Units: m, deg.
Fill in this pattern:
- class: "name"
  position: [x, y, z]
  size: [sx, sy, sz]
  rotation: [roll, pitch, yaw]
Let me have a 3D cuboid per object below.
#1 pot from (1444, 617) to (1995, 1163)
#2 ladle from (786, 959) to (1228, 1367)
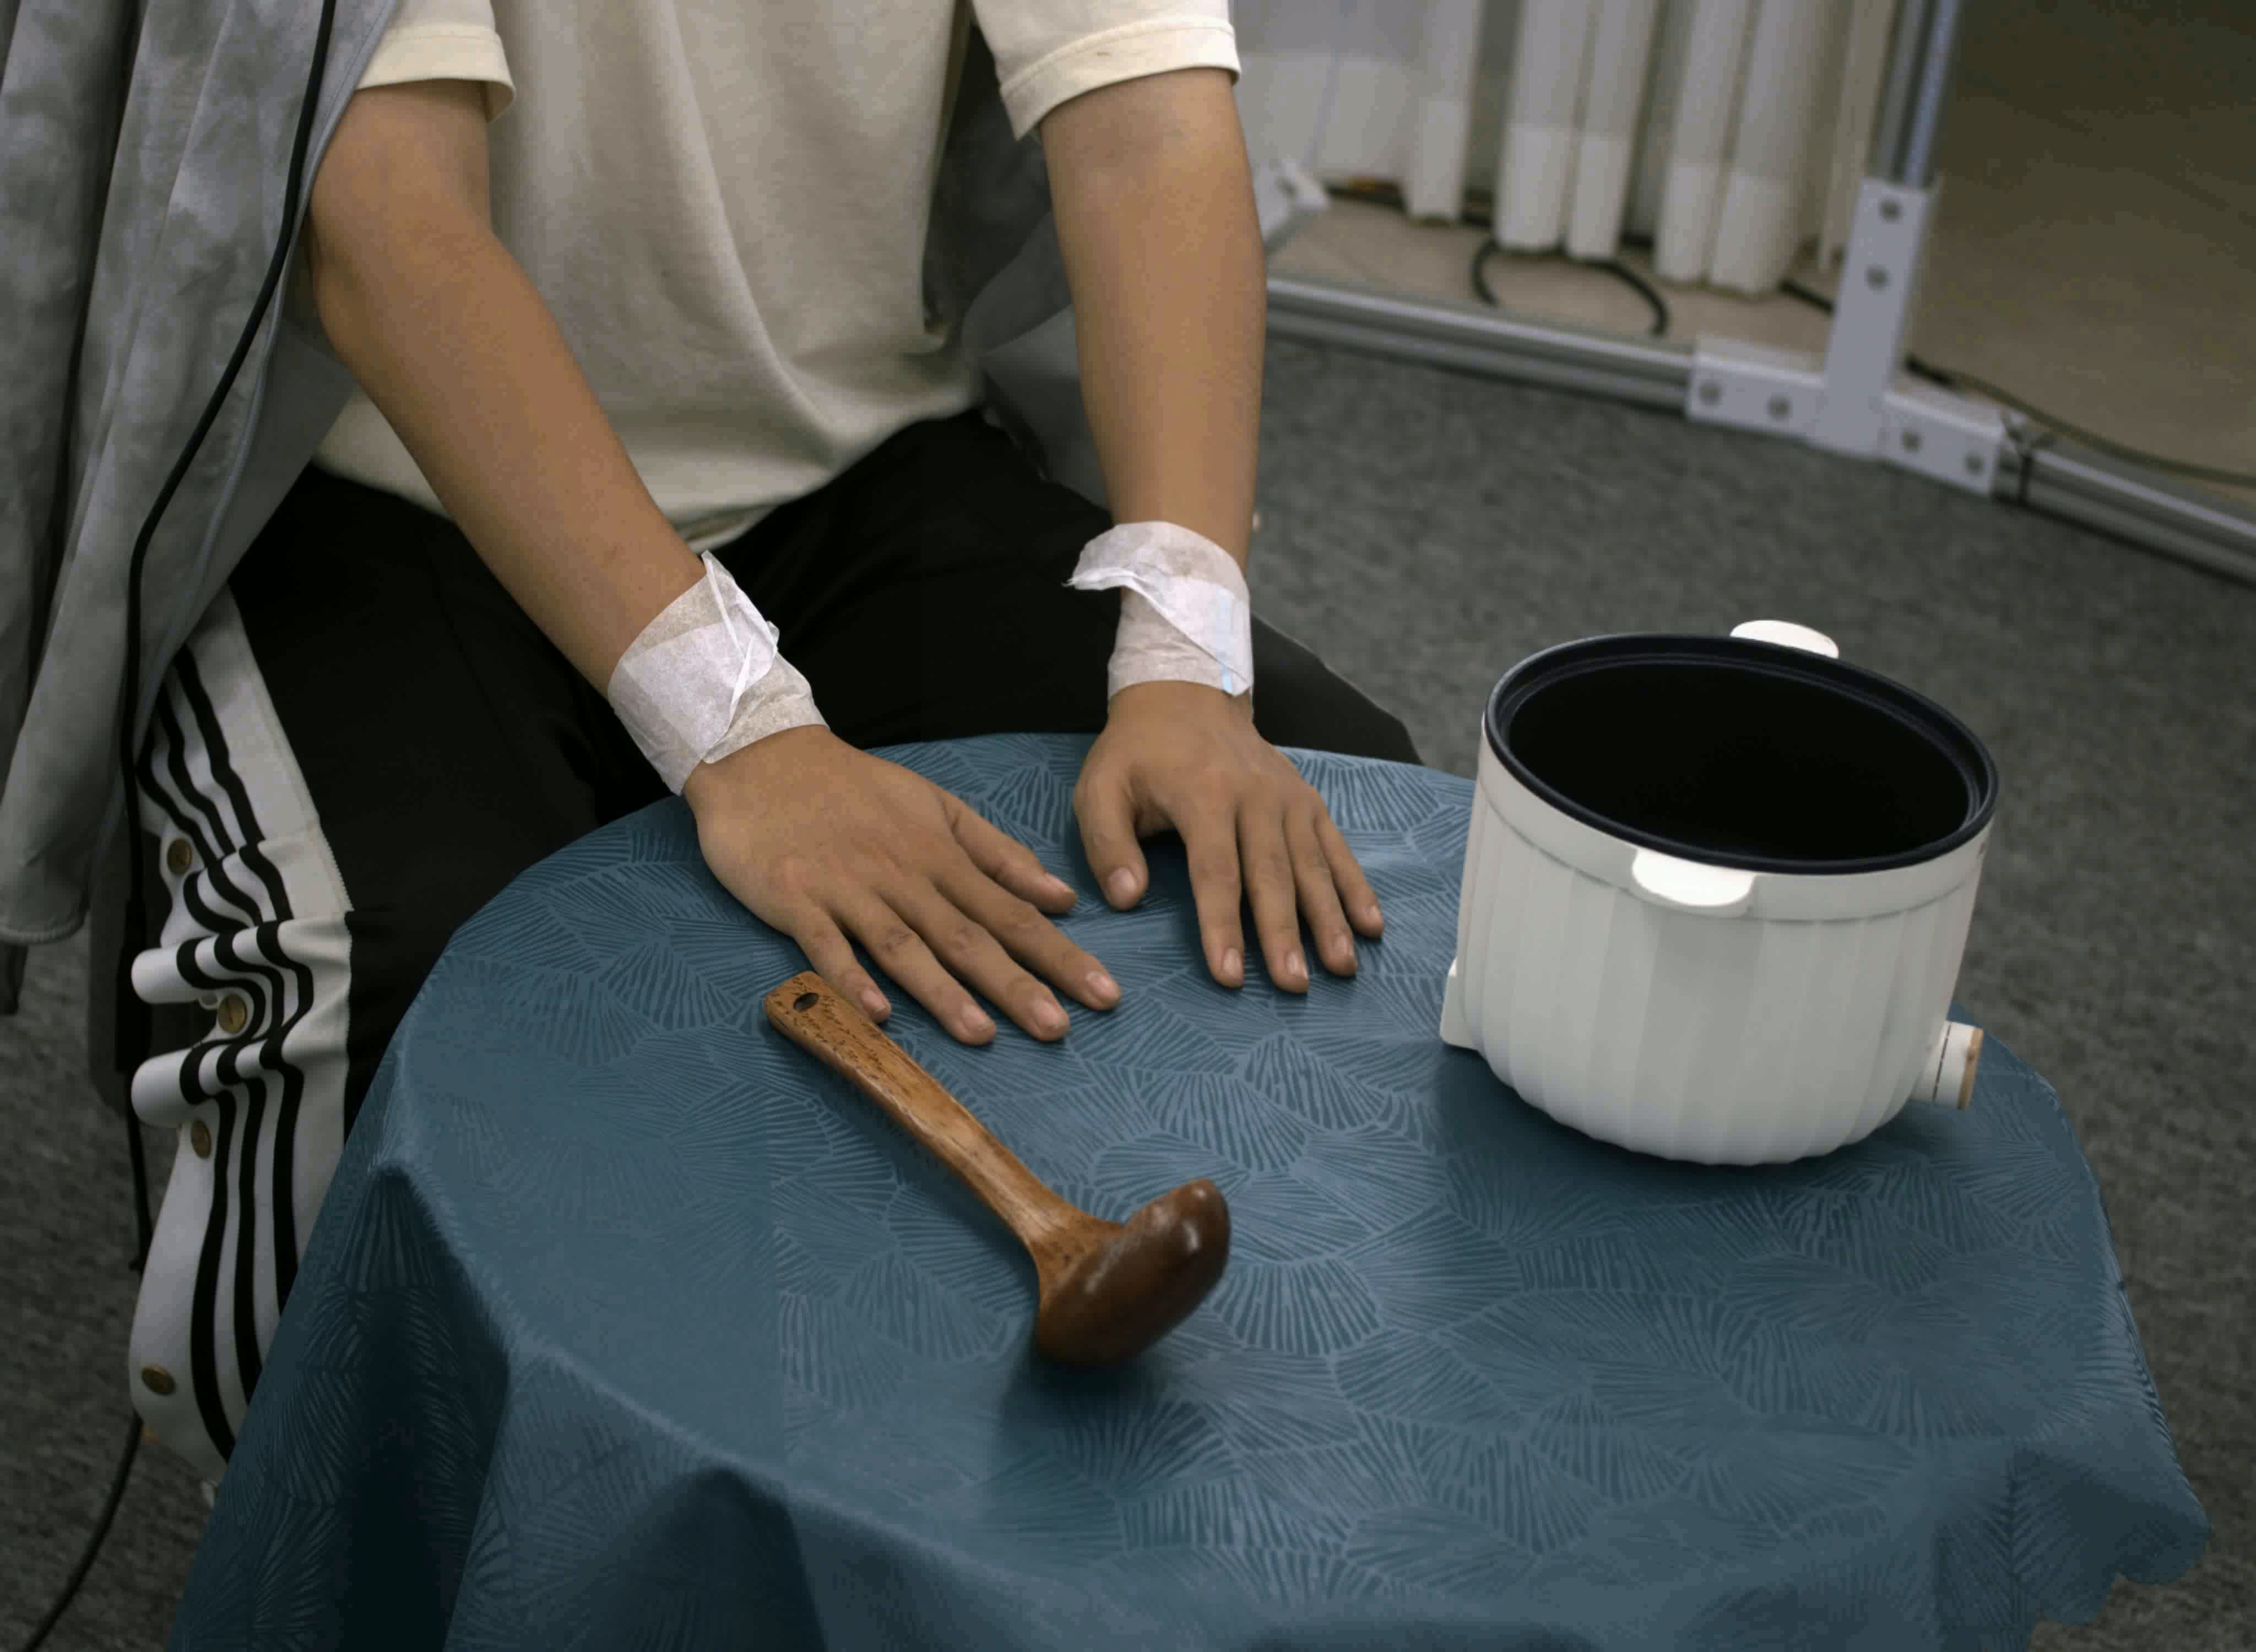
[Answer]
- class: "pot"
  position: [0.212, 0.030, 1.883]
  size: [0.190, 0.142, 0.241]
  rotation: [9, 28, 12]
- class: "ladle"
  position: [-0.056, 0.095, 1.766]
  size: [0.082, 0.076, 0.276]
  rotation: [-31, 40, -15]
